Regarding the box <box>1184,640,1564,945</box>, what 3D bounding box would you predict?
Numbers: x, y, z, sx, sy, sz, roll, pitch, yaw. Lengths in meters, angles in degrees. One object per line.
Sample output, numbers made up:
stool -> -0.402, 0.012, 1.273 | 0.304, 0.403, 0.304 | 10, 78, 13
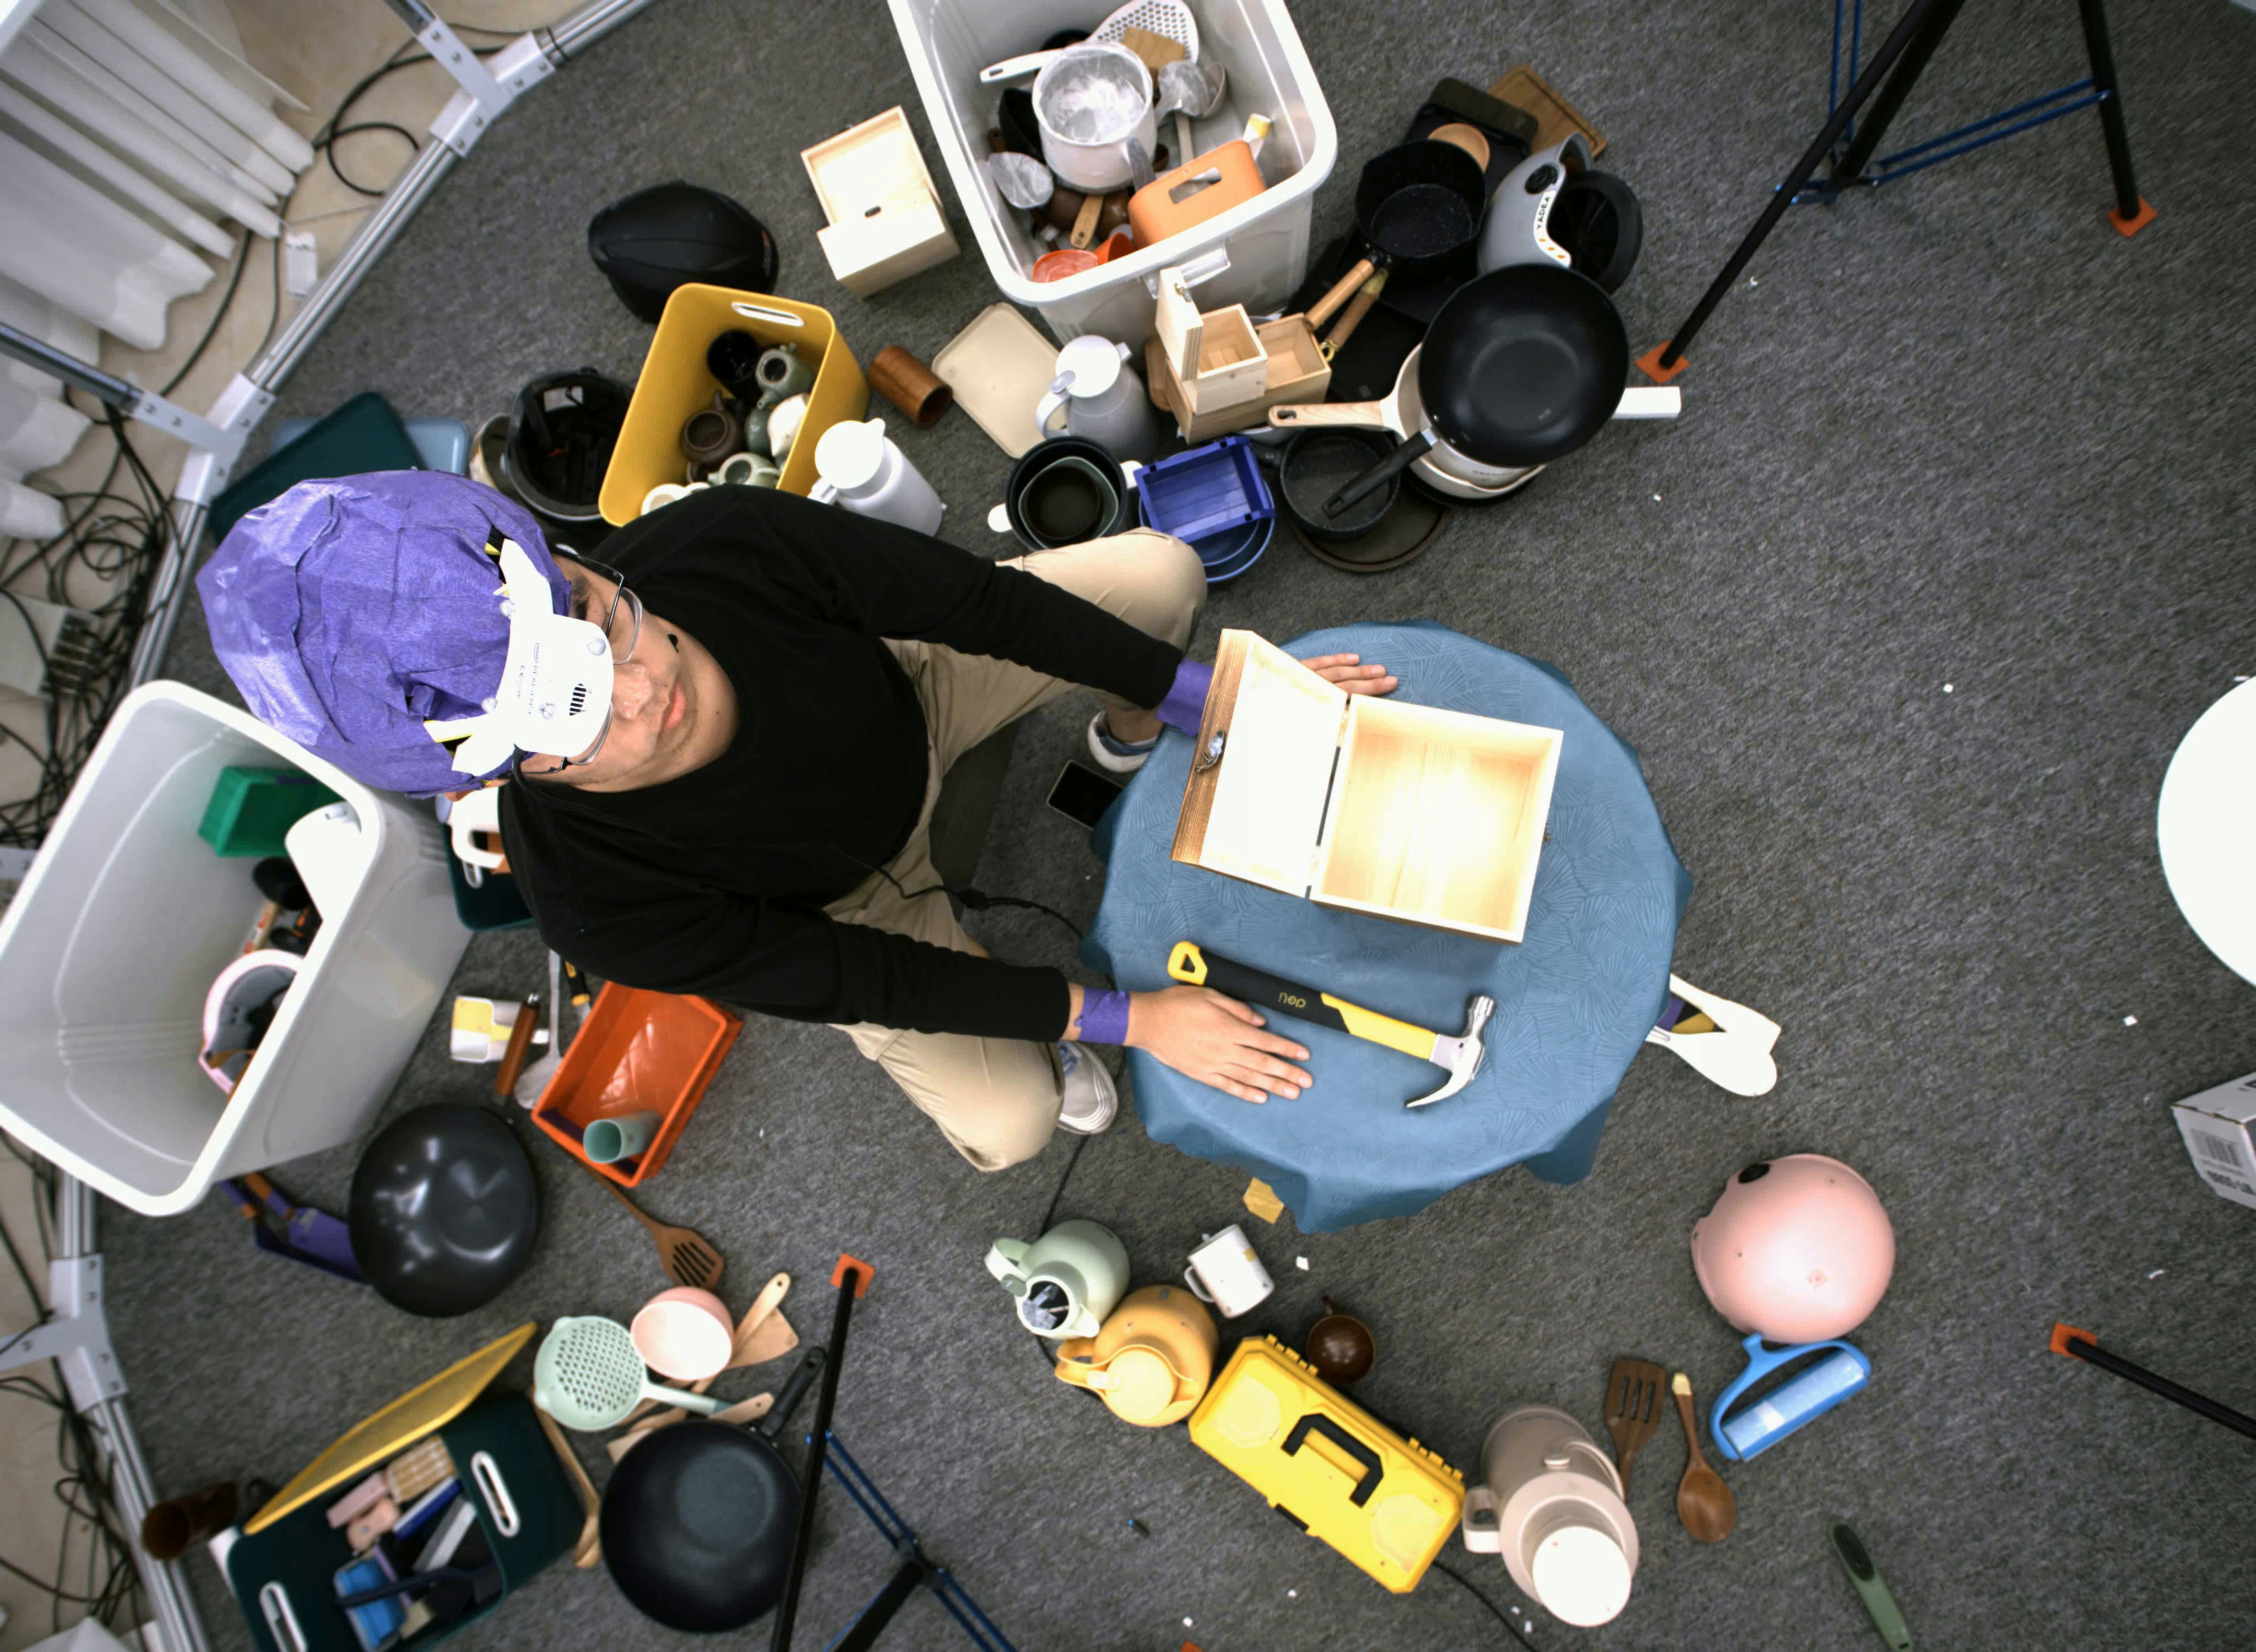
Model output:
box -> 0.236, -0.019, 1.289 | 0.323, 0.375, 0.208 | 11, 88, 11

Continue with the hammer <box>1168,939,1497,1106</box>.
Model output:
hammer -> 0.204, 0.189, 1.450 | 0.338, 0.032, 0.131 | 19, 91, 10
